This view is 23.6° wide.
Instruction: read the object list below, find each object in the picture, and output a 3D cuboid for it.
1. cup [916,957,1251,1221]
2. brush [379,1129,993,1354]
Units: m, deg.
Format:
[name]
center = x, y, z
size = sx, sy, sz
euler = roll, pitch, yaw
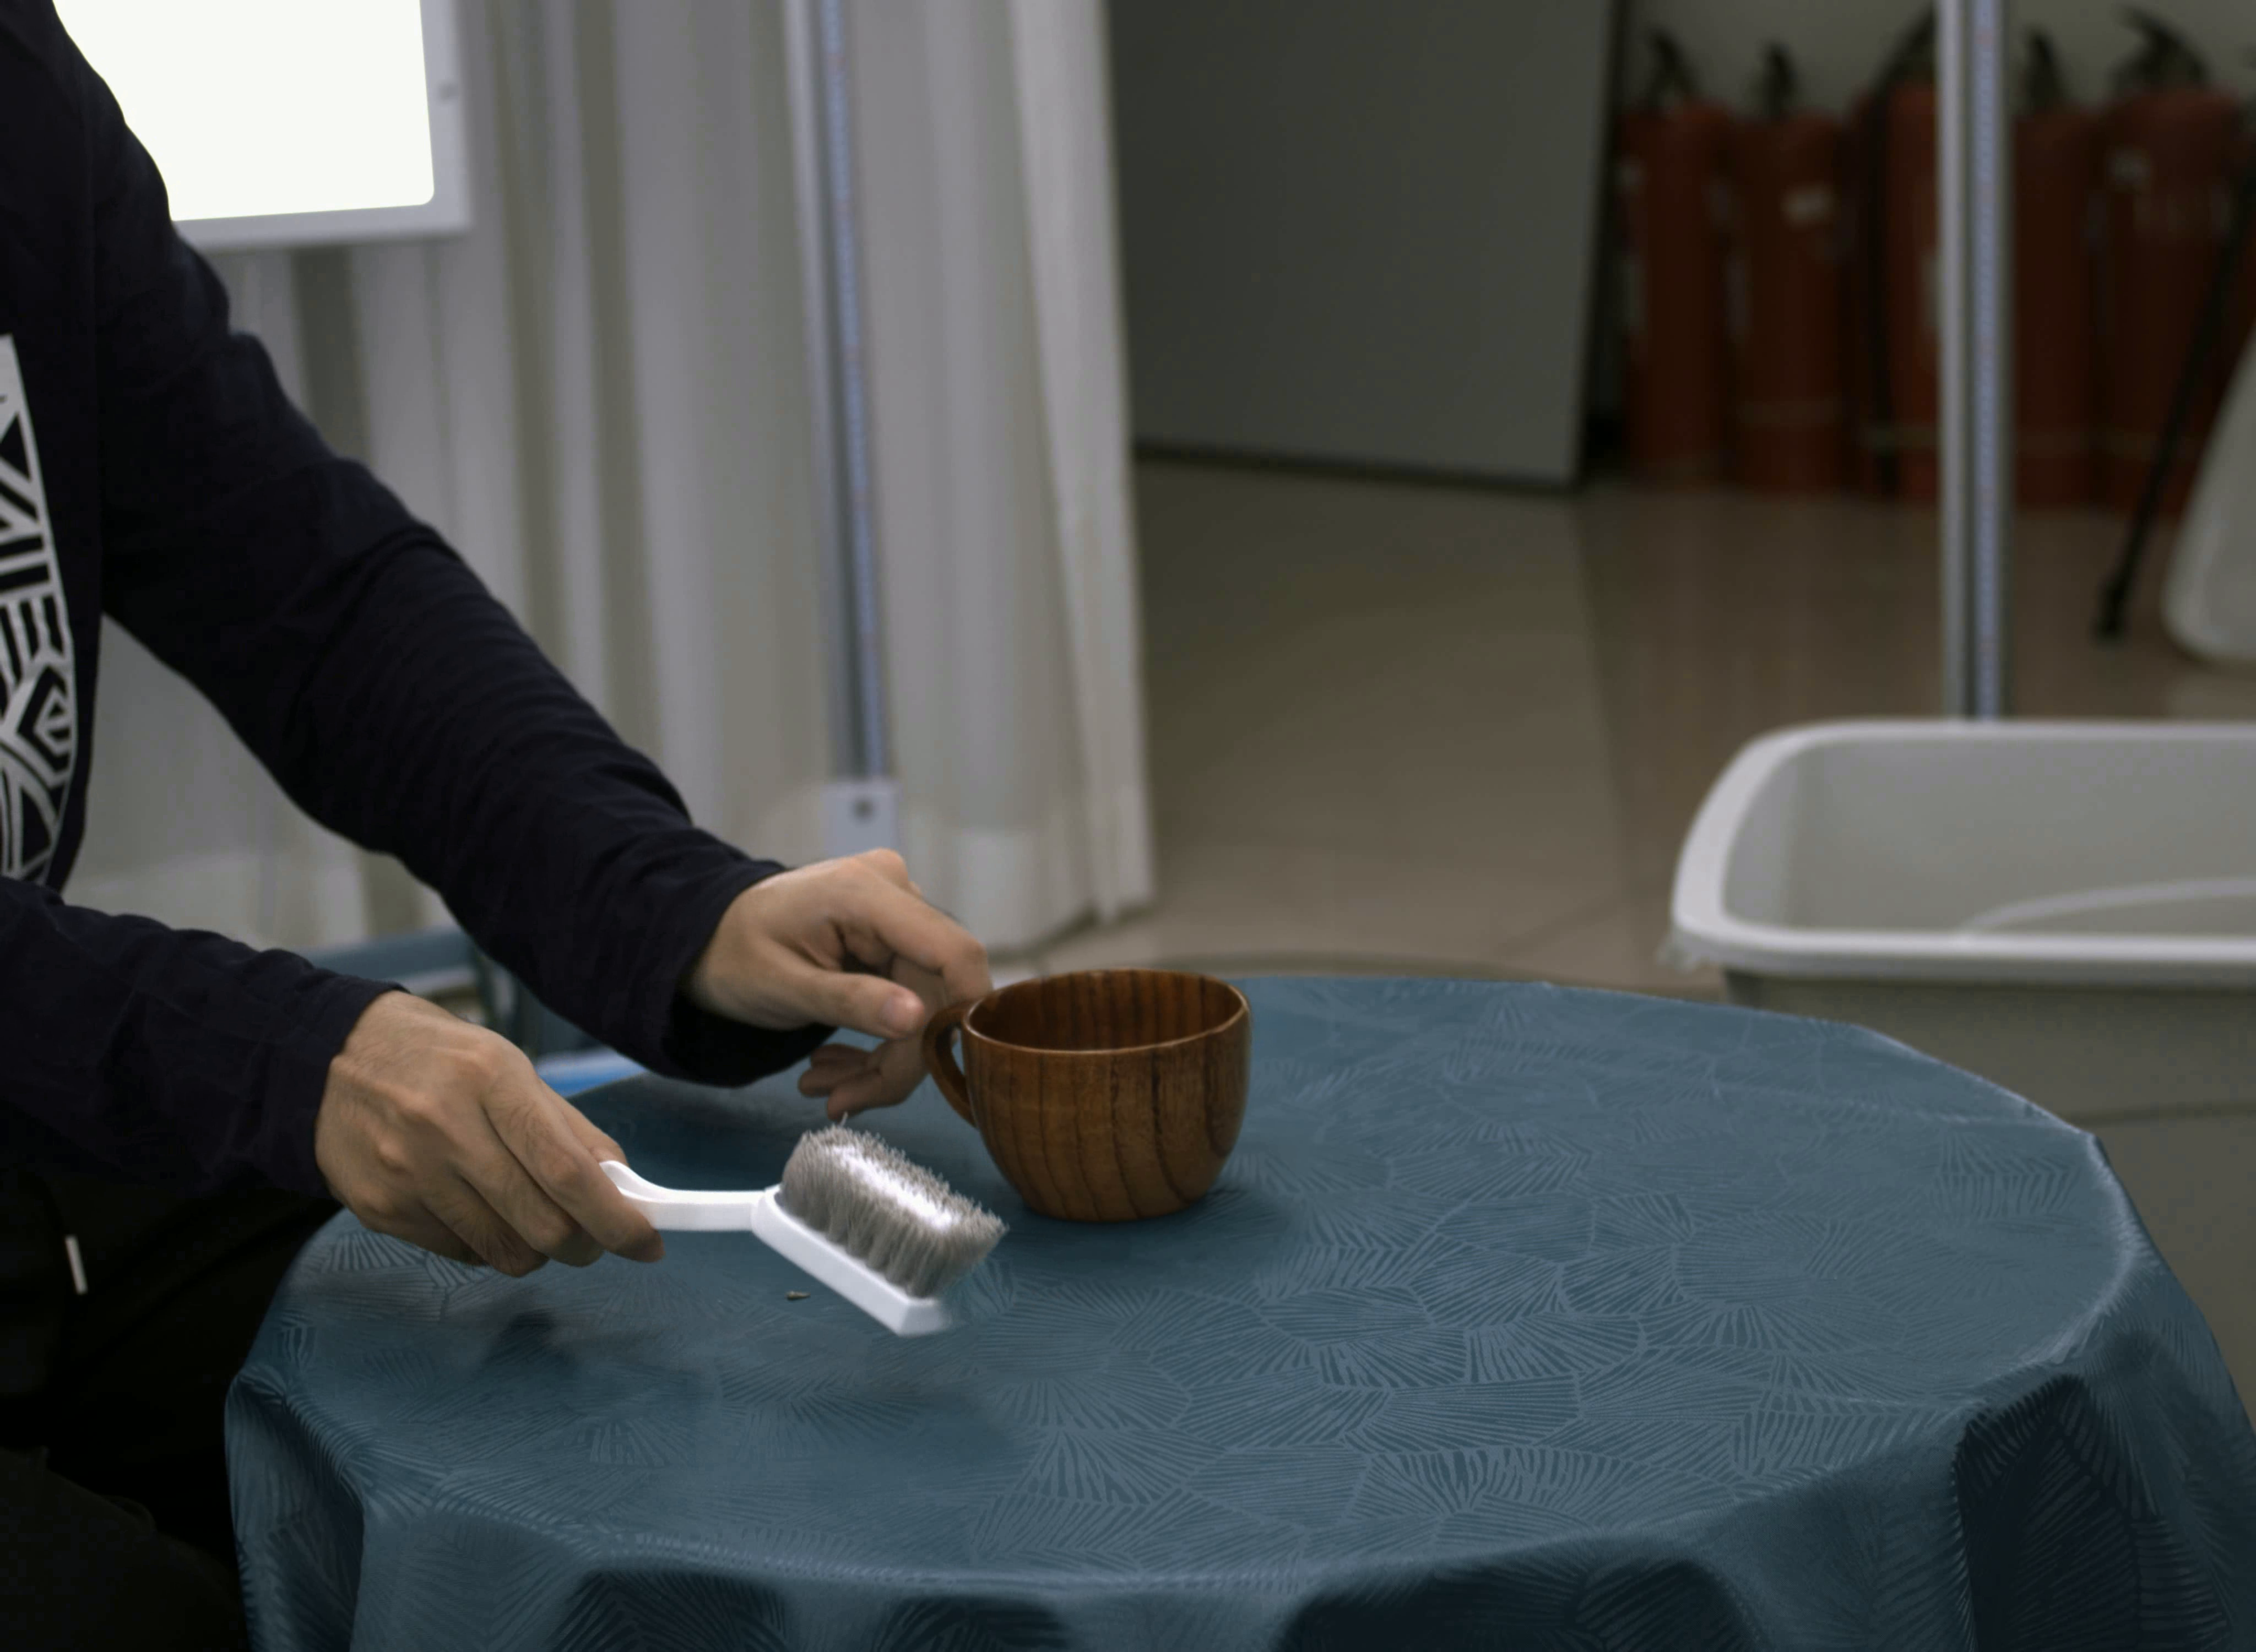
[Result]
[cup]
center = -0.016, 0.087, 1.772
size = 0.120, 0.068, 0.094
euler = 7, 19, 30
[brush]
center = -0.140, 0.107, 1.648
size = 0.245, 0.051, 0.034
euler = 15, 24, 38
